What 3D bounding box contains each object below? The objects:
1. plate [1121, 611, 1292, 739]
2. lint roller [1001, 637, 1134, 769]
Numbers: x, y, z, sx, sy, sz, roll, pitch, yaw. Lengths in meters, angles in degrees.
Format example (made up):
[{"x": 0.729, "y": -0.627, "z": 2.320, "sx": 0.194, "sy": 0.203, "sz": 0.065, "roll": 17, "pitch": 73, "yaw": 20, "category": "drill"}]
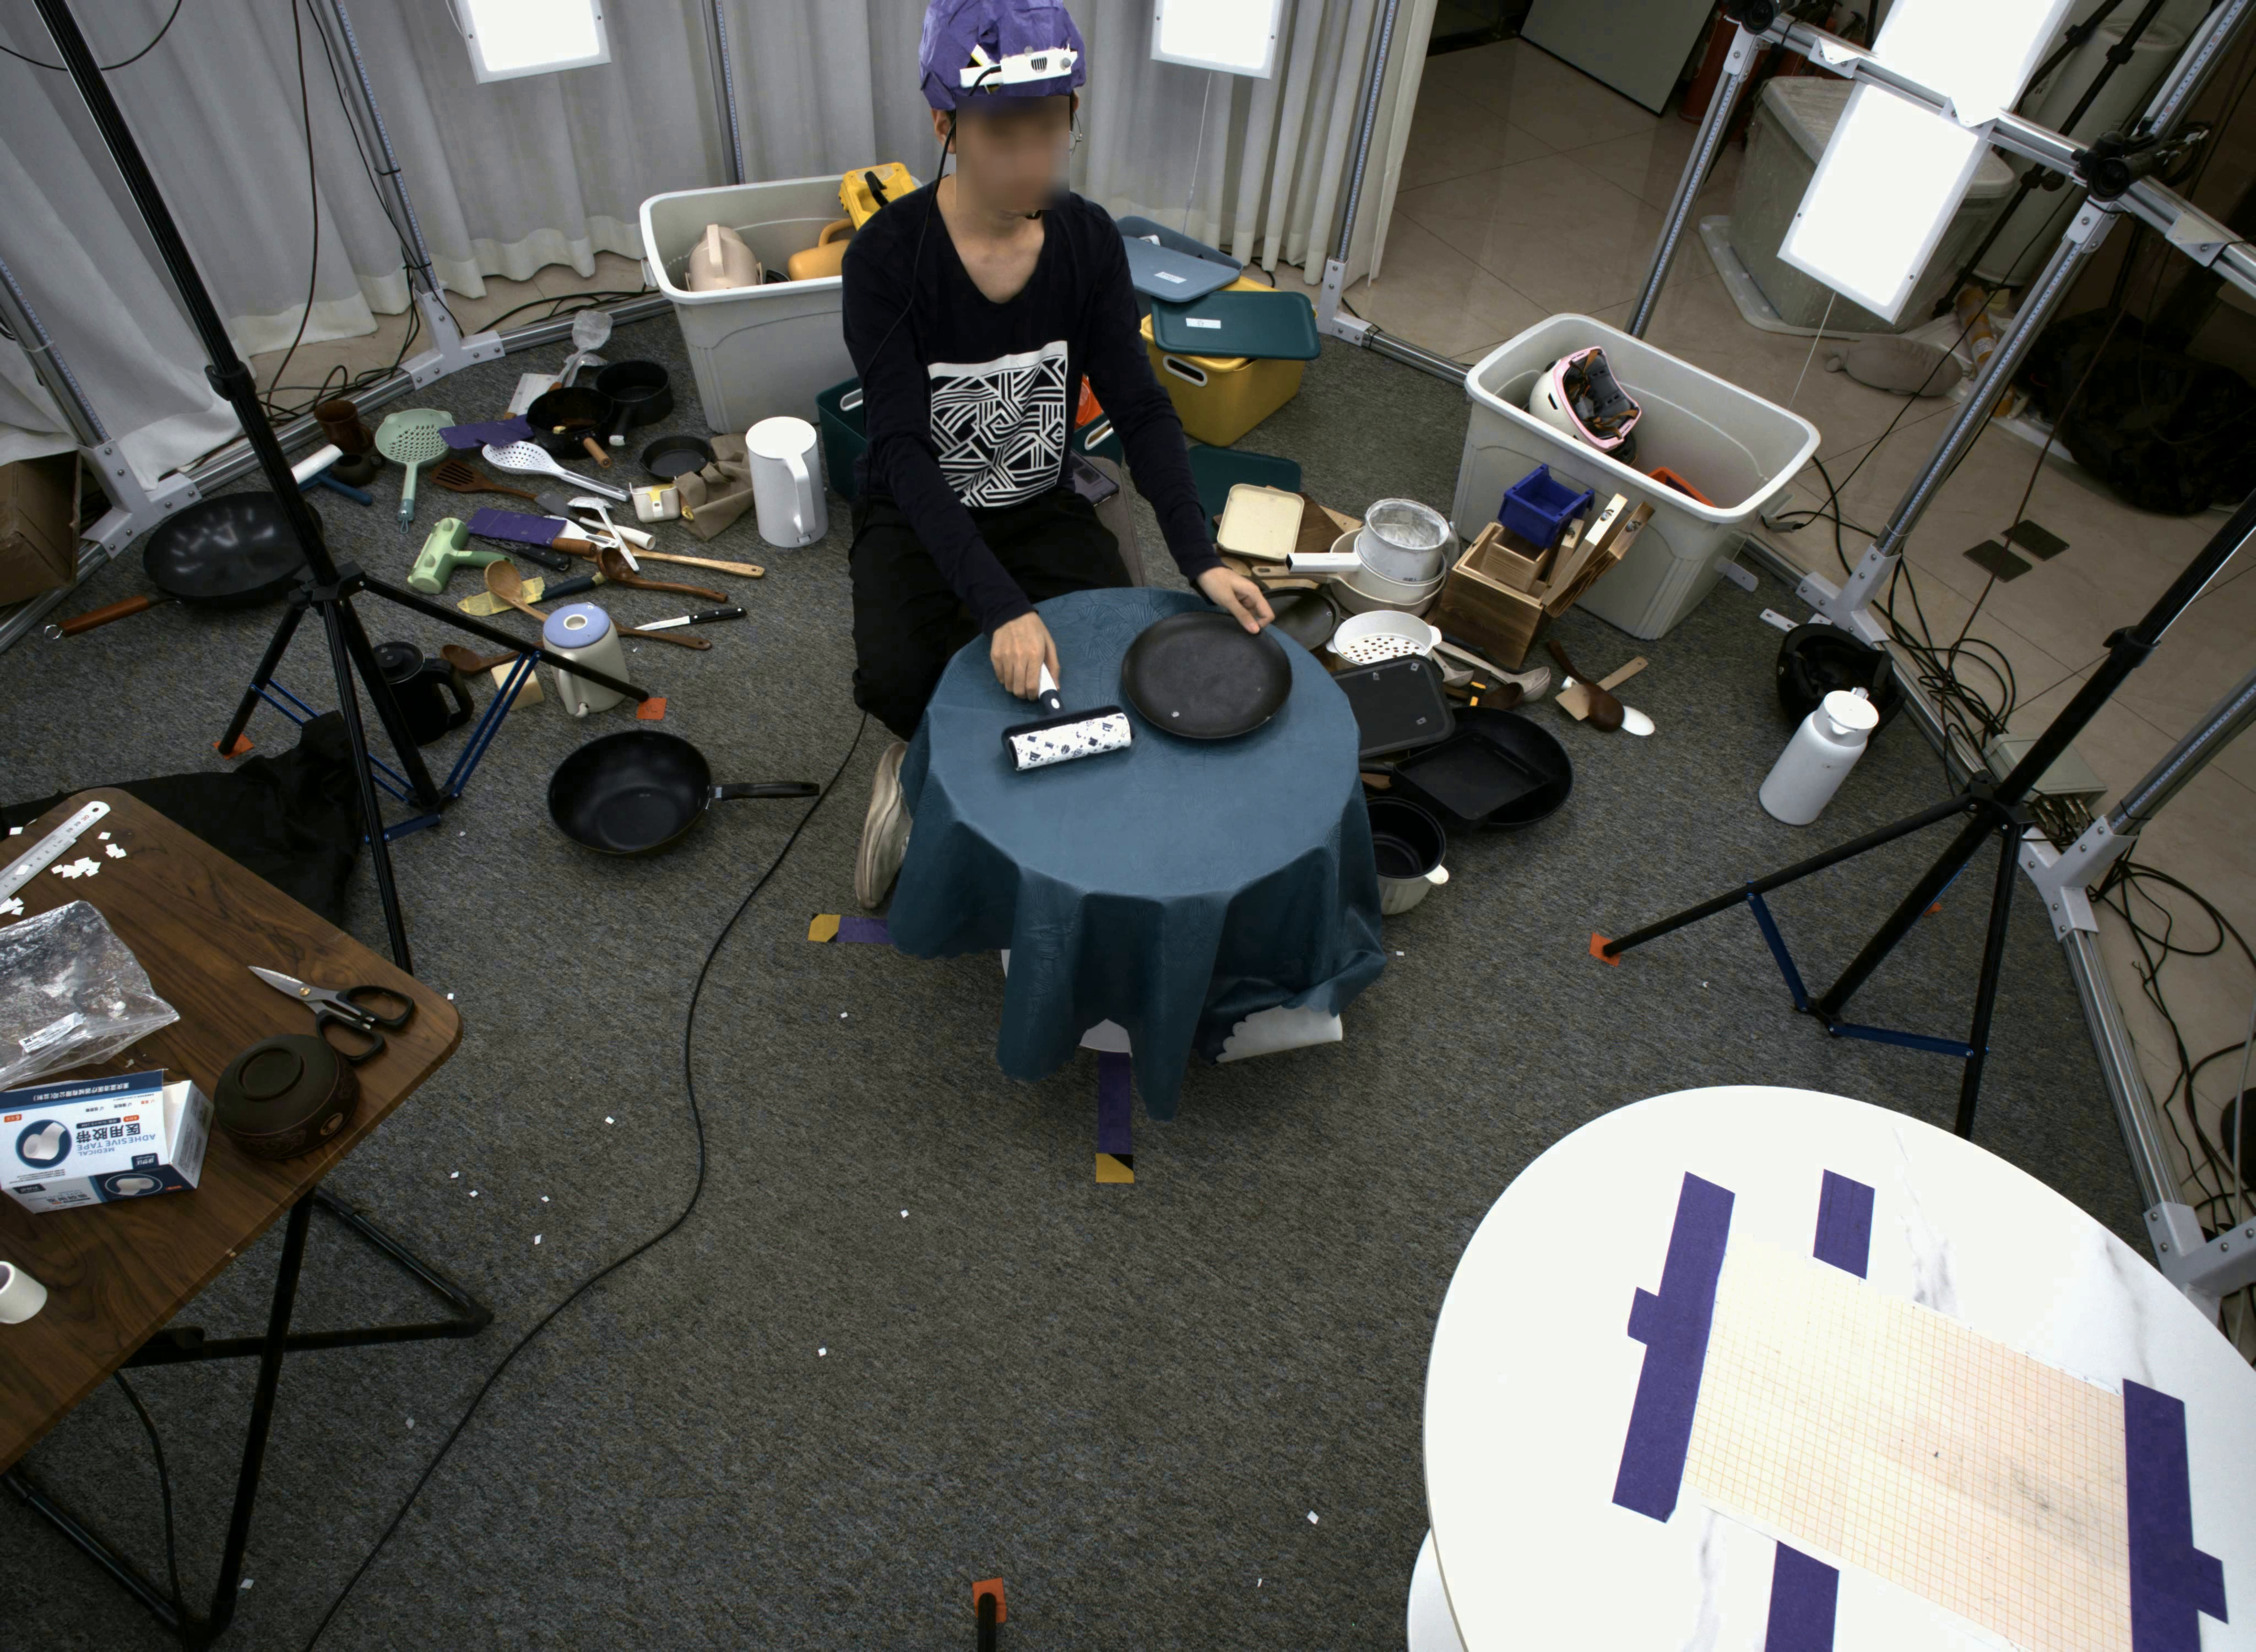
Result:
[{"x": 0.111, "y": -0.215, "z": 1.837, "sx": 0.244, "sy": 0.023, "sz": 0.250, "roll": 0, "pitch": 53, "yaw": 0, "category": "plate"}, {"x": -0.114, "y": -0.189, "z": 1.794, "sx": 0.176, "sy": 0.049, "sz": 0.253, "roll": -14, "pitch": 50, "yaw": -14, "category": "lint roller"}]
